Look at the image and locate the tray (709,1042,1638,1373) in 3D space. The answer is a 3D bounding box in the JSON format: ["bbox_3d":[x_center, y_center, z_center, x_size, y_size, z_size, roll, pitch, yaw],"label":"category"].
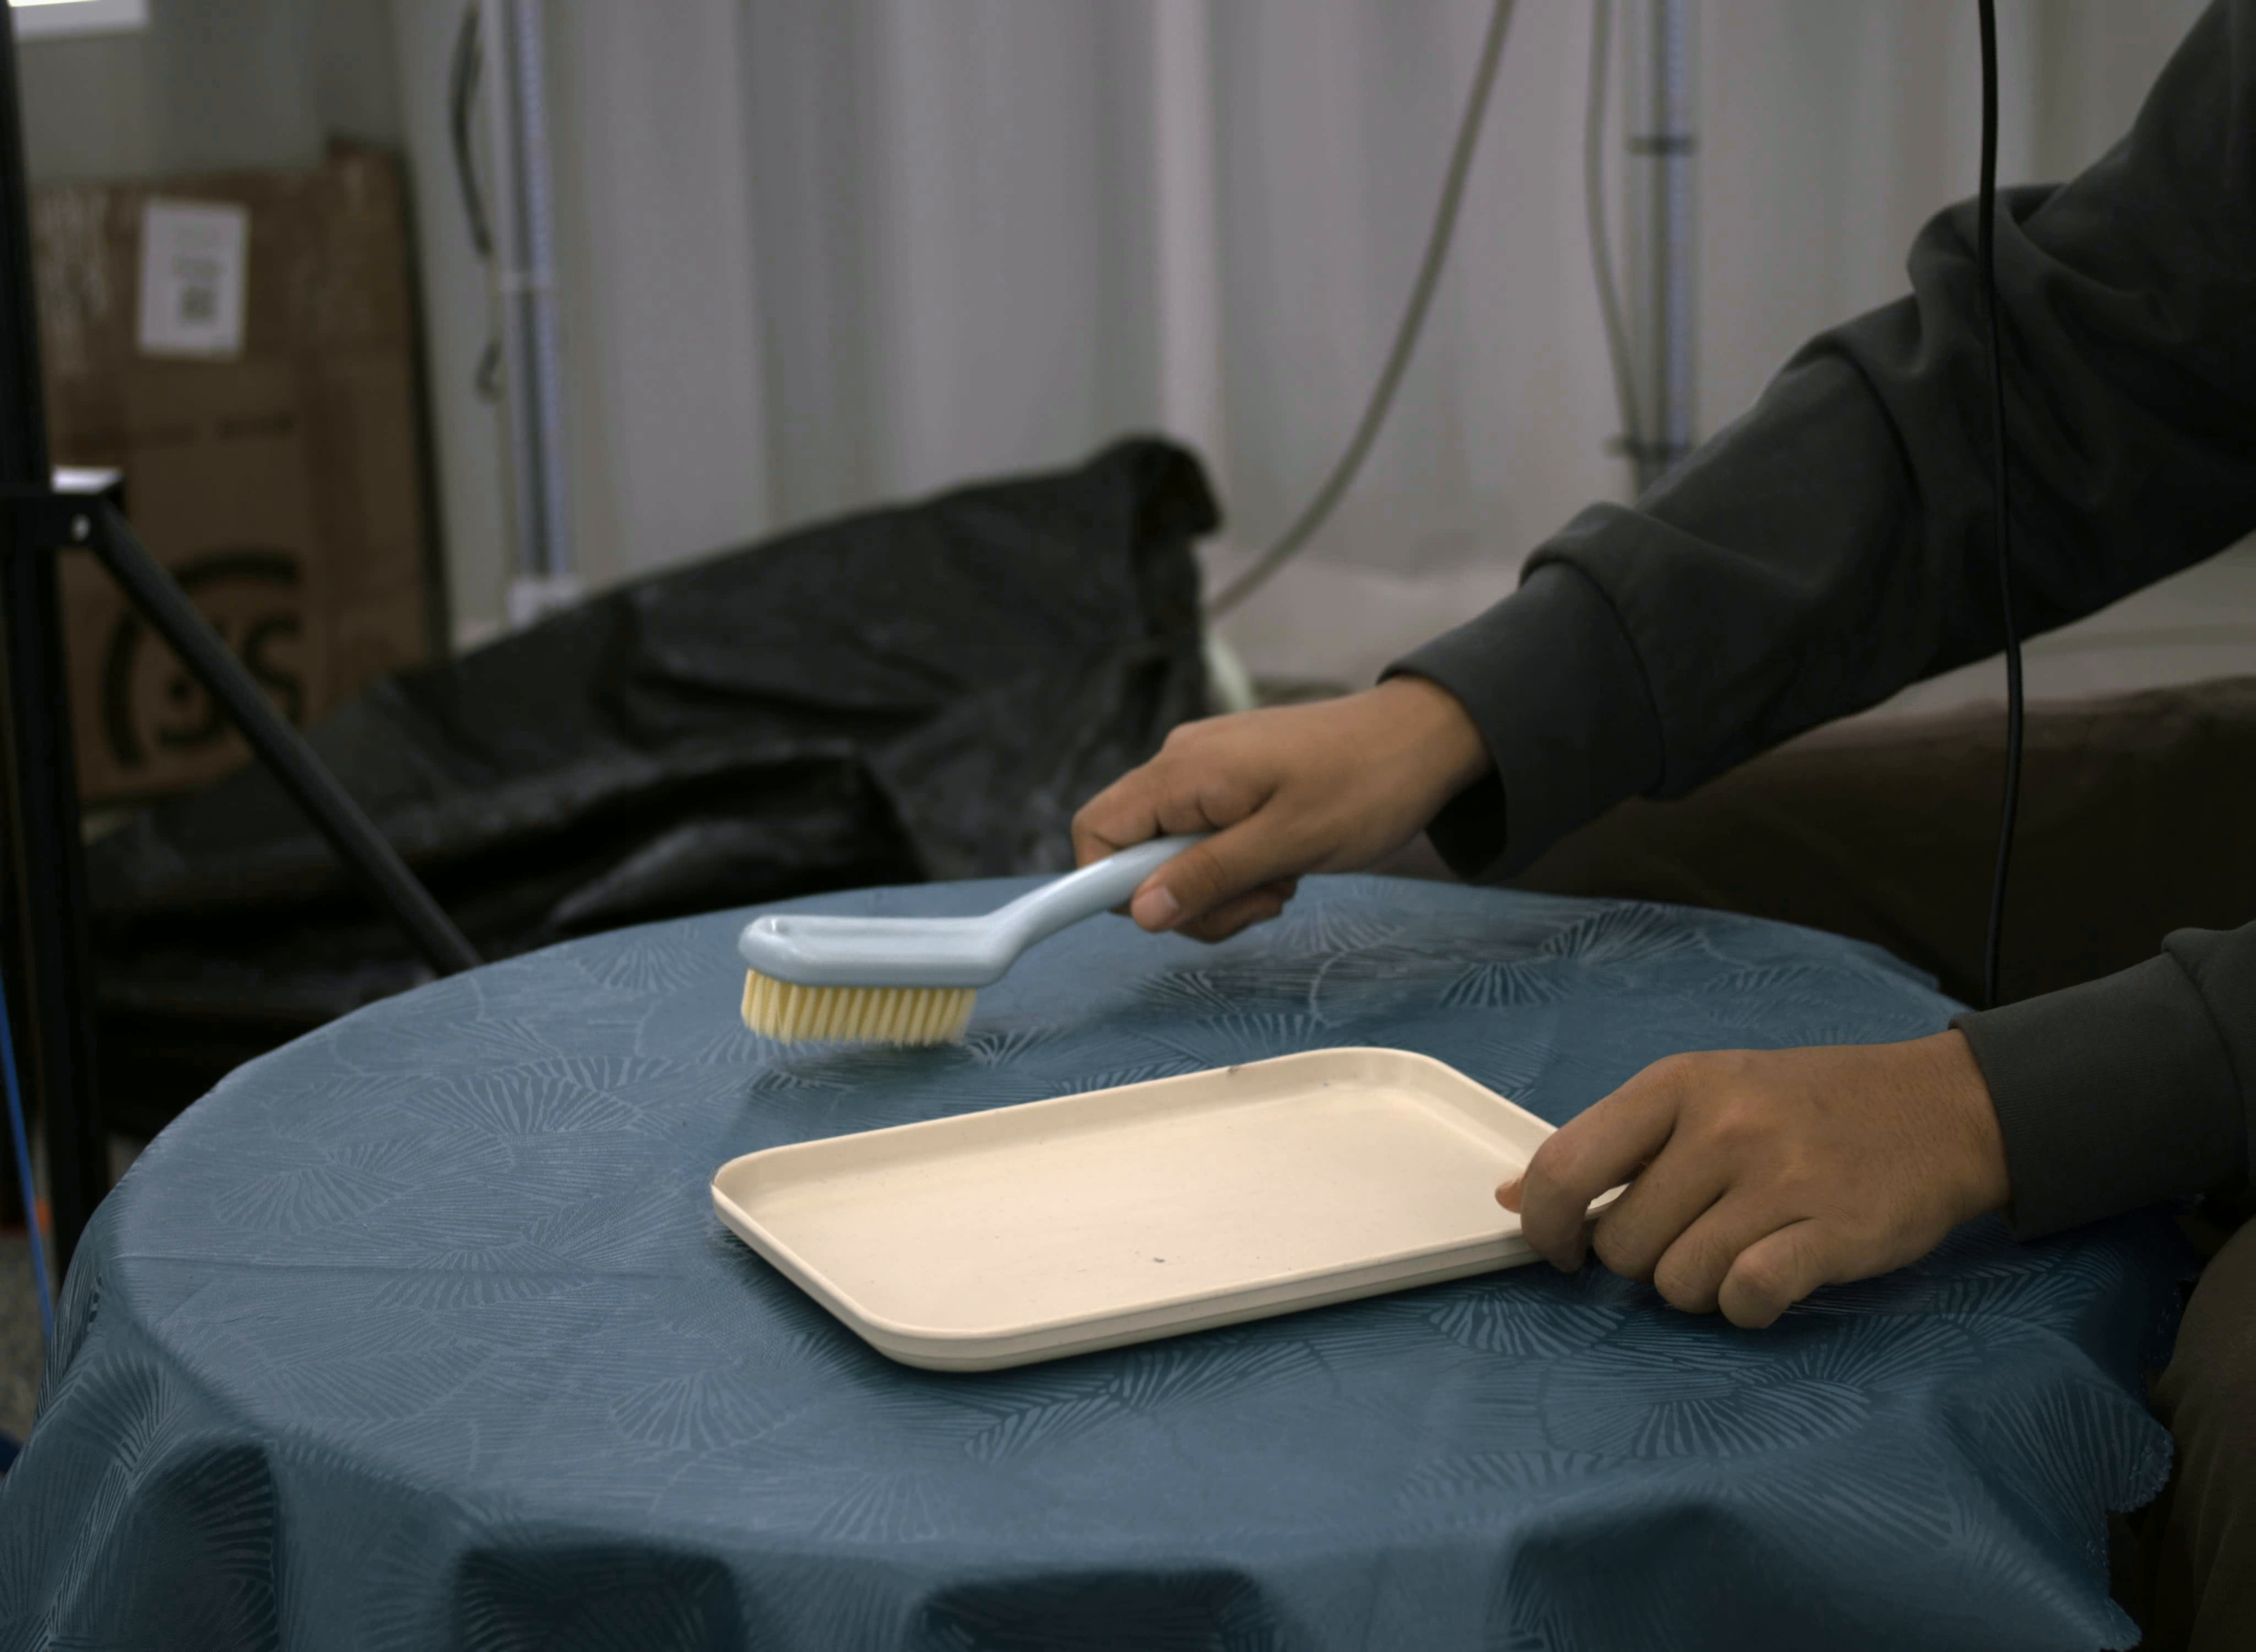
[{"bbox_3d":[0.012,0.108,1.519,0.235,0.017,0.174,-9,18,-22],"label":"tray"}]

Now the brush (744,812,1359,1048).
[{"bbox_3d":[-0.023,0.035,1.717,0.224,0.049,0.038,-14,27,-30],"label":"brush"}]
